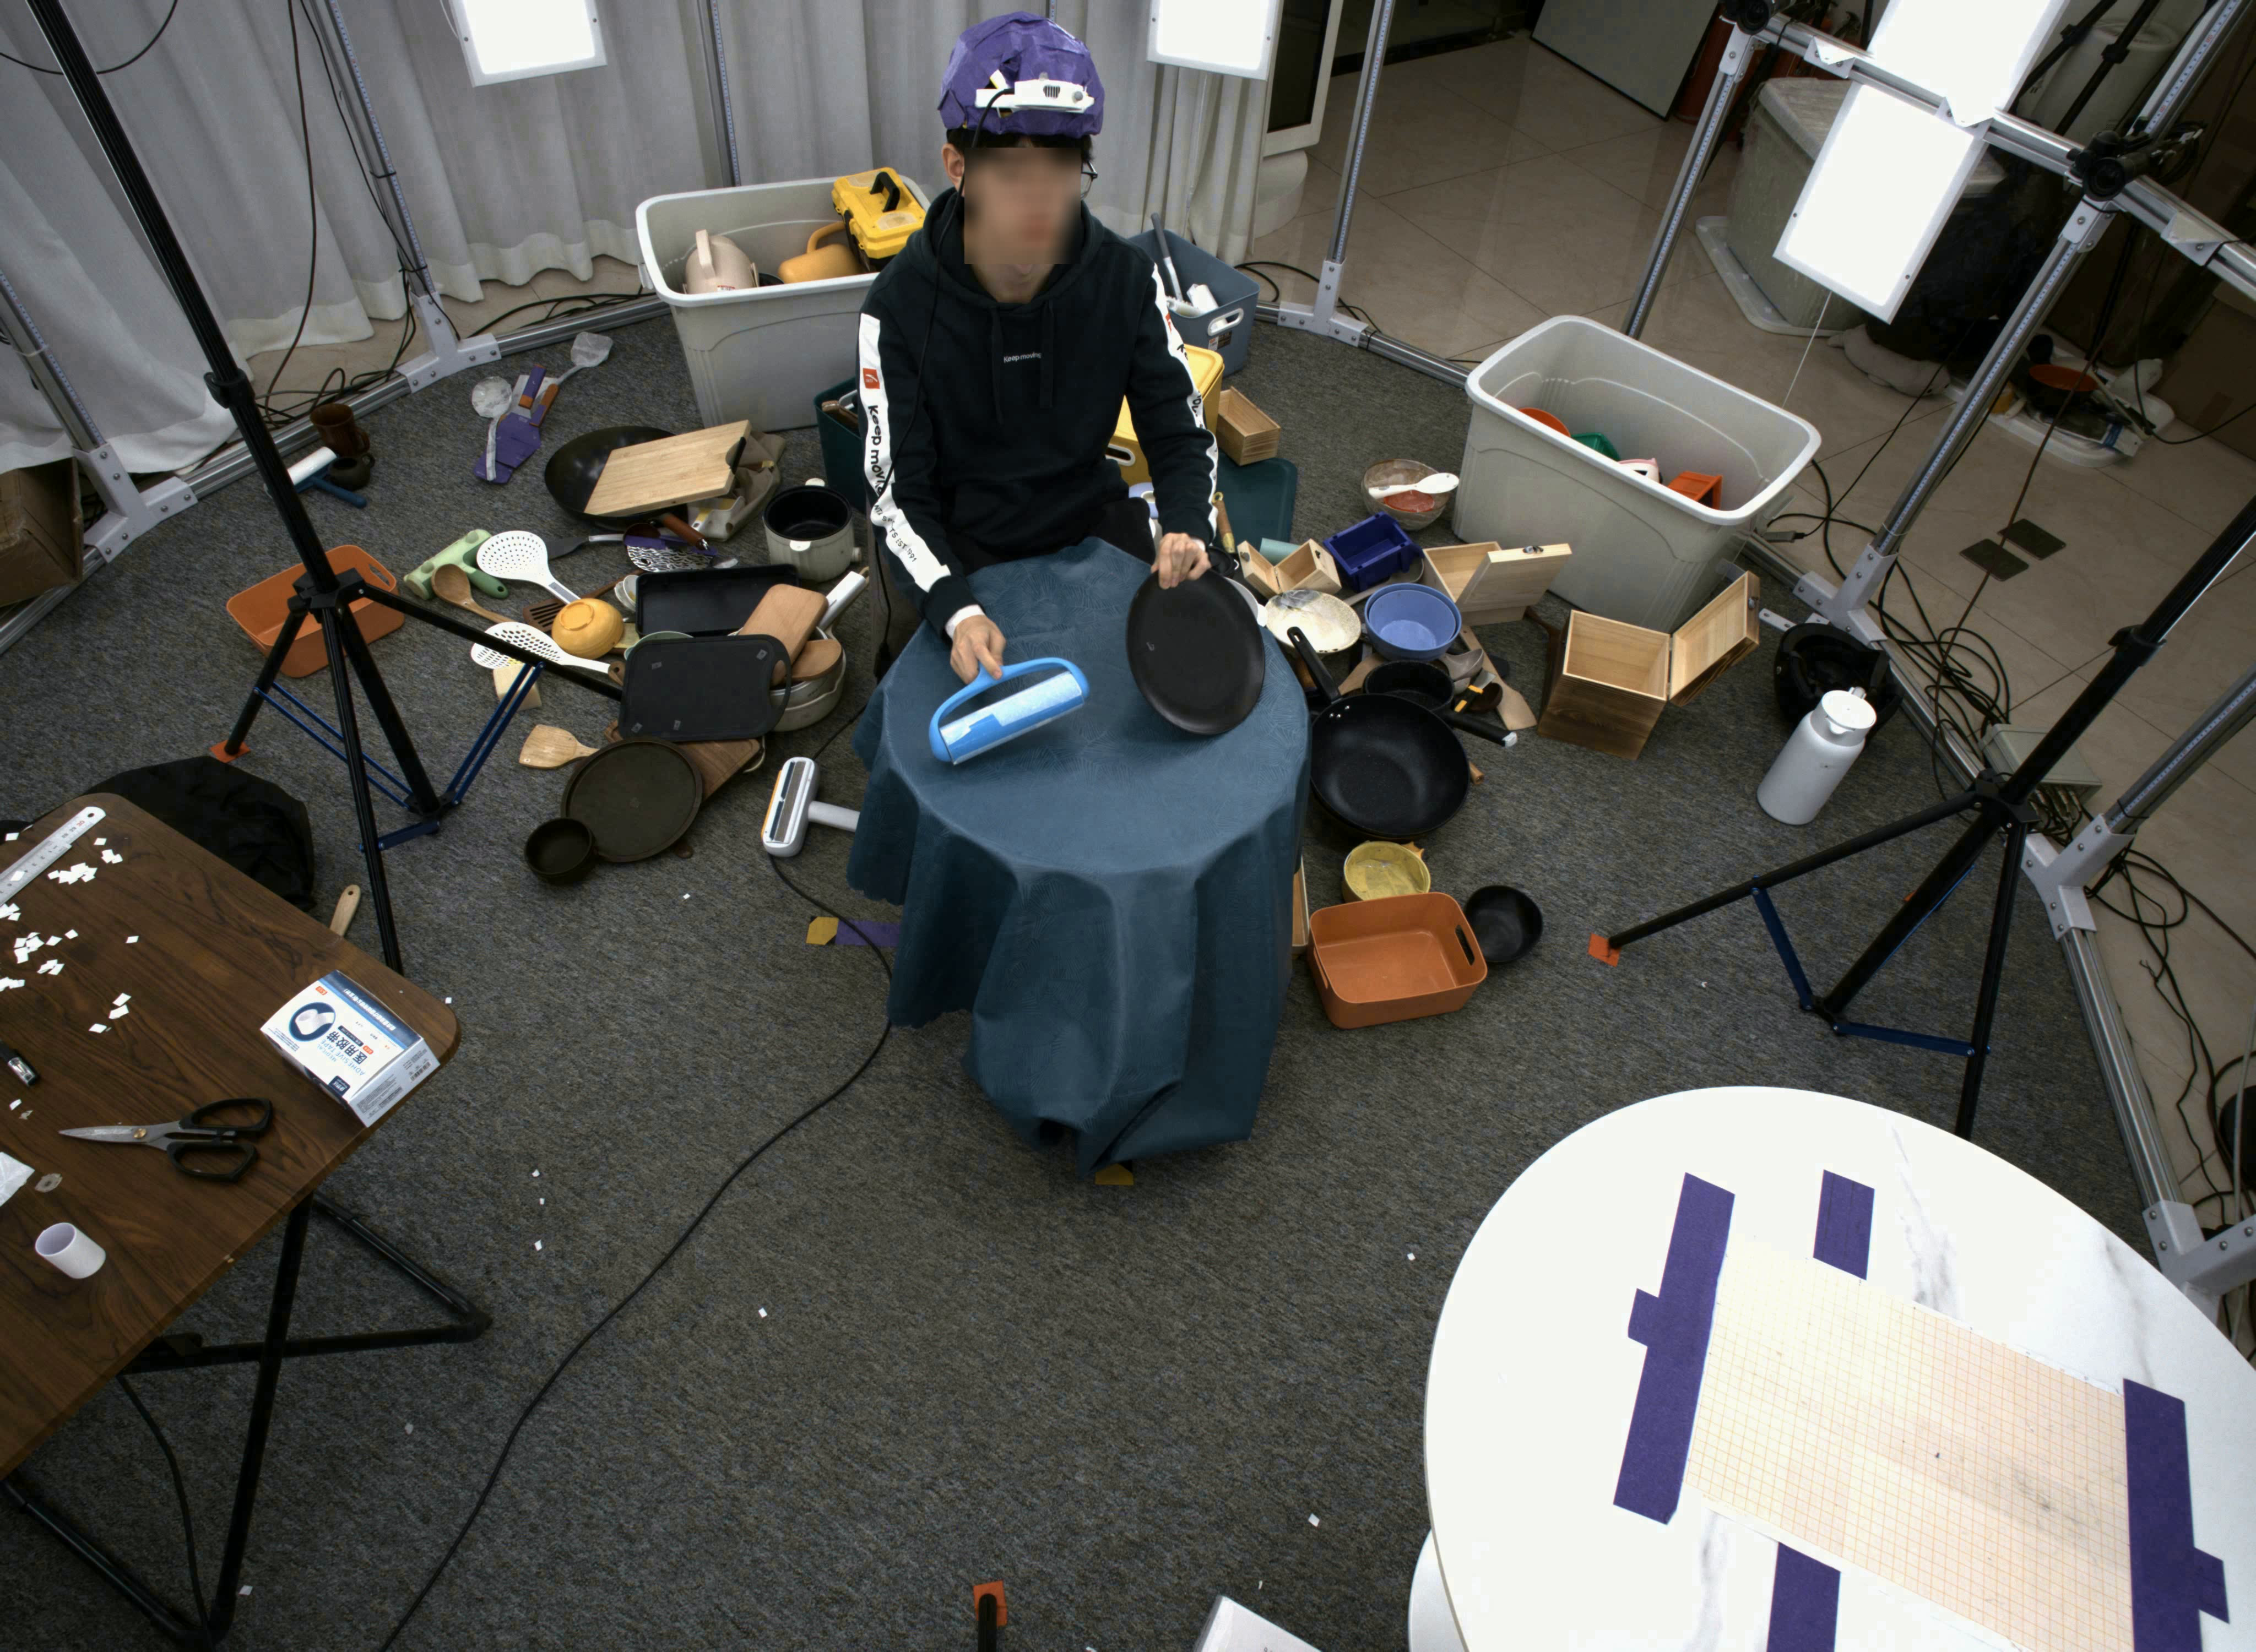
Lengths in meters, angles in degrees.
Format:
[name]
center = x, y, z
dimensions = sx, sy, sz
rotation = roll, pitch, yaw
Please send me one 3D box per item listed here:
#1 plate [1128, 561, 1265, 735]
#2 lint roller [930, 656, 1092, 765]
[plate]
center = 0.094, -0.247, 1.786
dimensions = 0.242, 0.023, 0.246
rotation = 6, 79, -35
[lint roller]
center = -0.181, -0.186, 1.745
dimensions = 0.229, 0.066, 0.184
rotation = -28, 53, -11
